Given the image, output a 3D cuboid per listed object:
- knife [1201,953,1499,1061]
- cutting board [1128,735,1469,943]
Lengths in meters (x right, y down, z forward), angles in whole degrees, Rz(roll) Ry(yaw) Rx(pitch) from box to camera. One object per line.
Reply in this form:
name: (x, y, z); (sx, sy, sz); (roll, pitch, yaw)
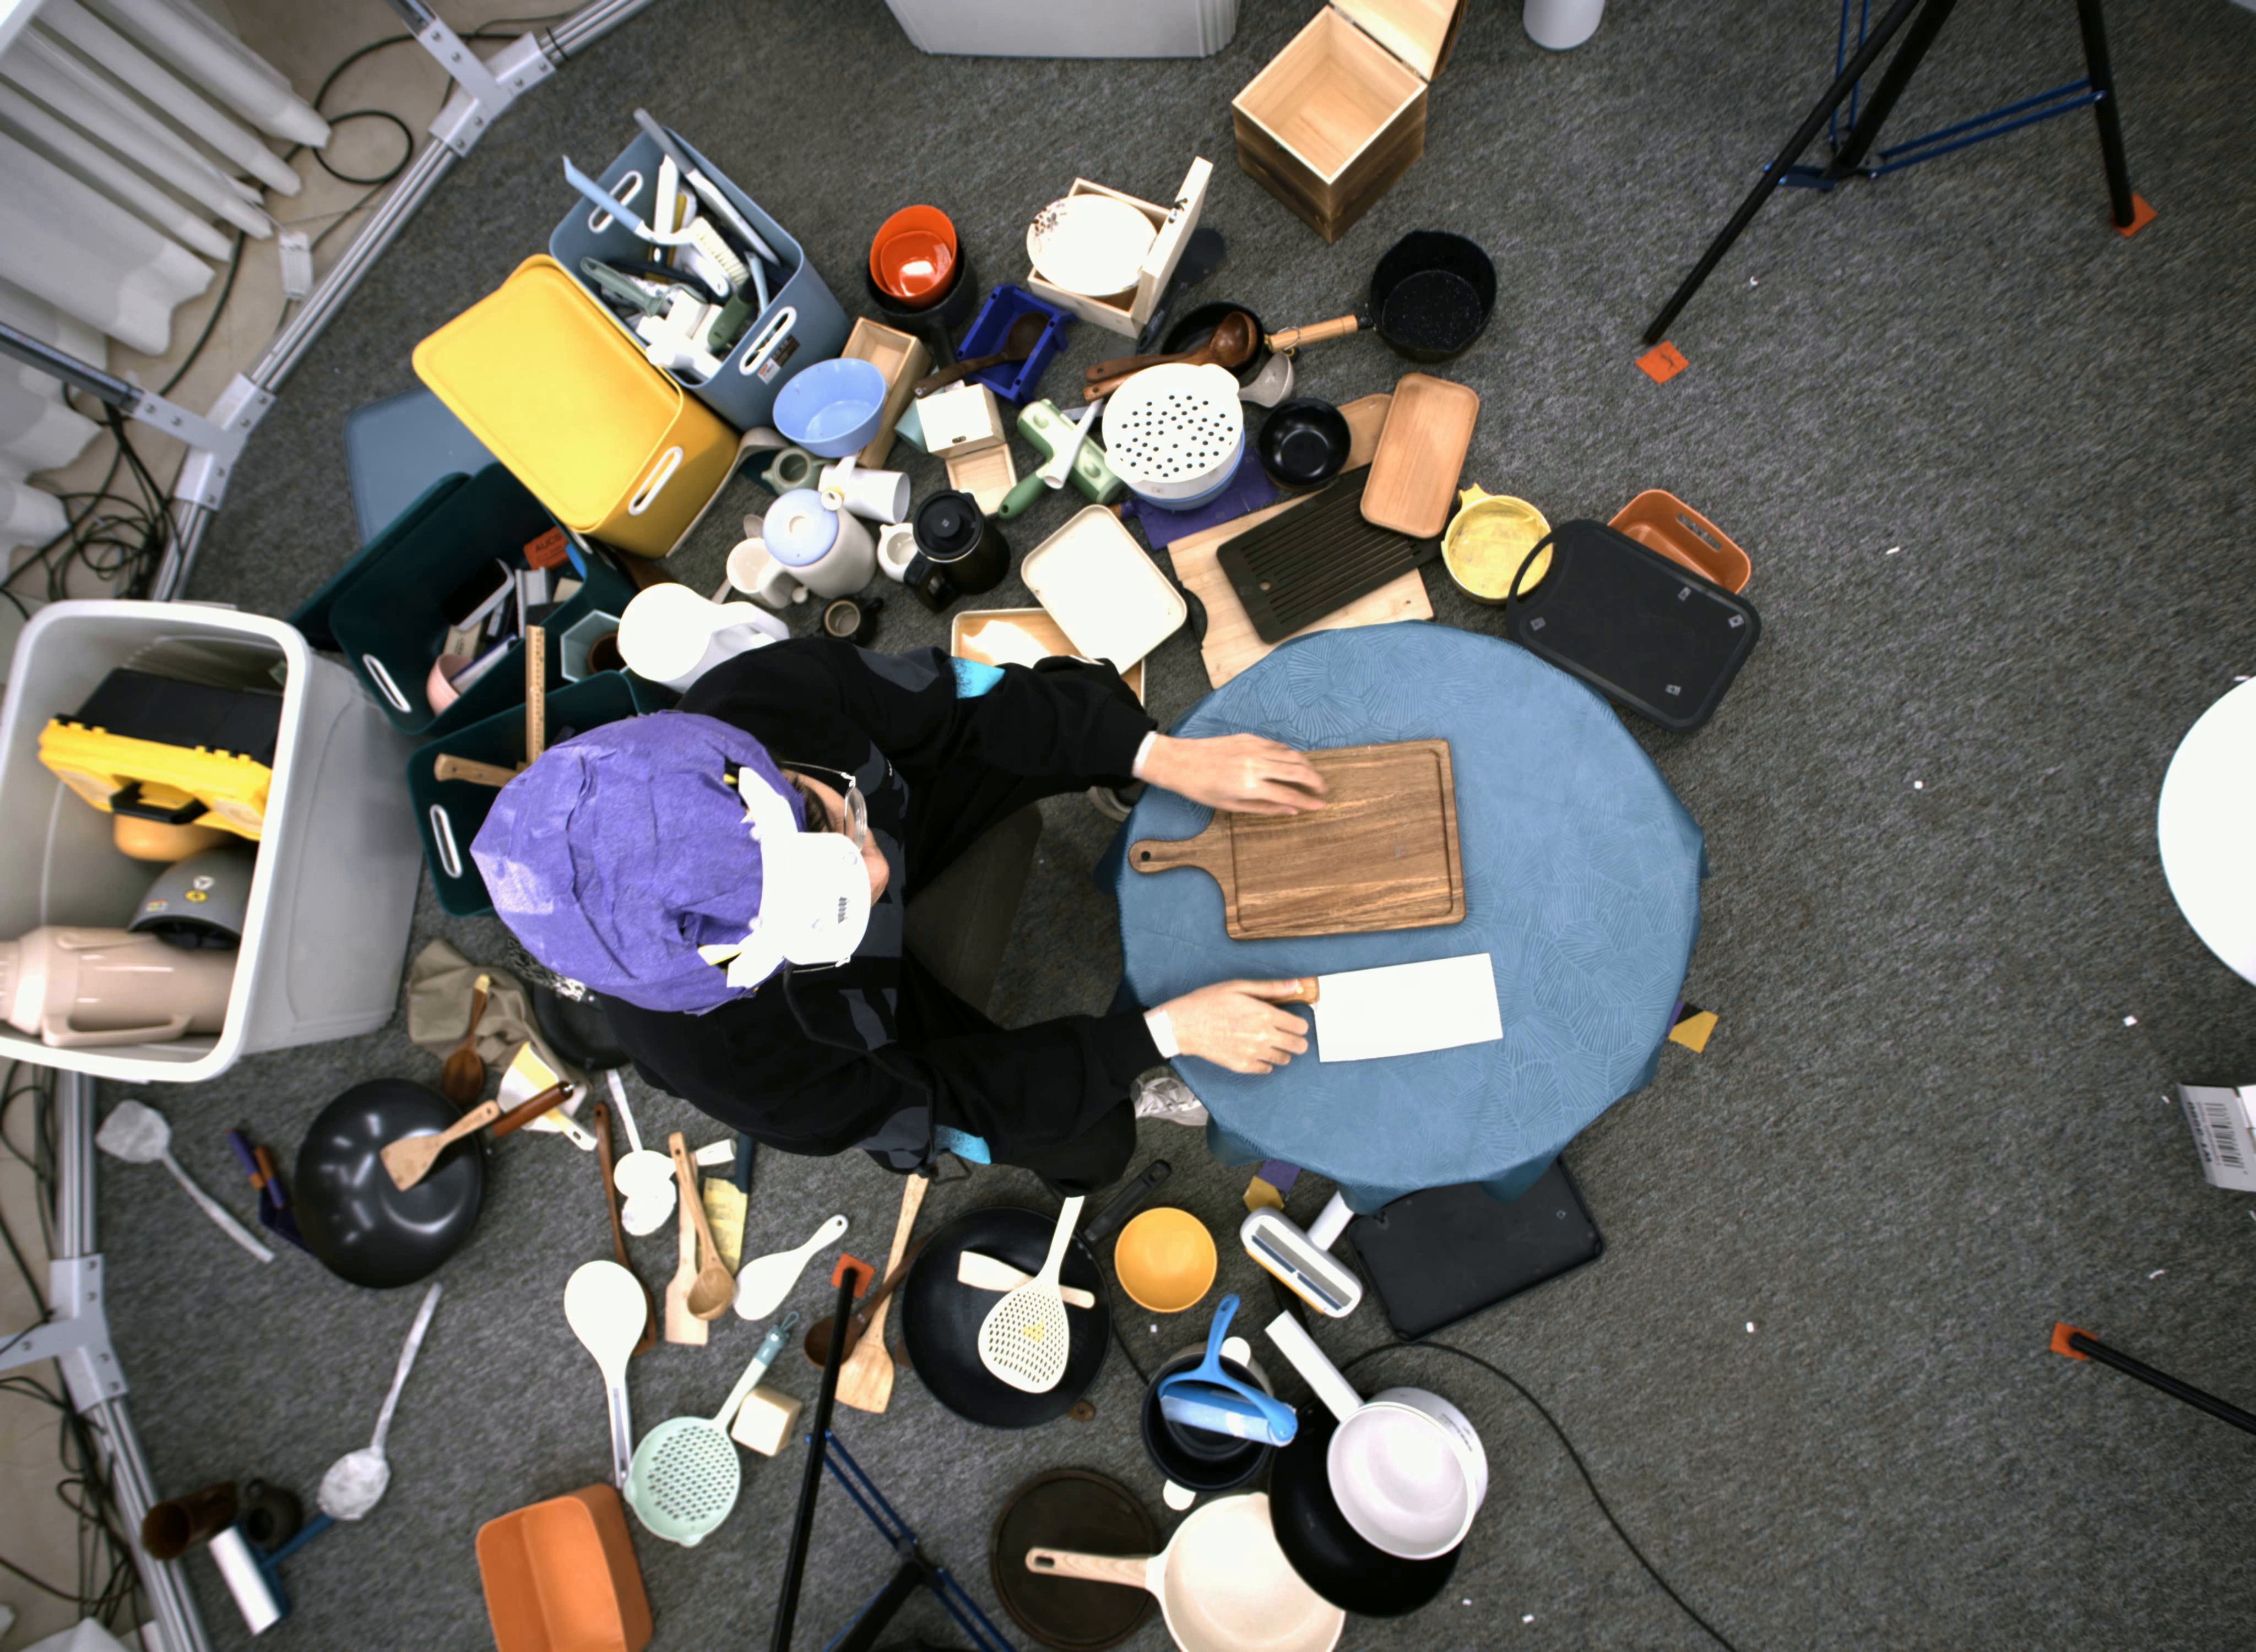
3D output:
knife: (0.233, 0.195, 1.452); (0.307, 0.021, 0.092); (-9, 87, 8)
cutting board: (0.174, 0.019, 1.470); (0.354, 0.023, 0.200); (-6, 86, 10)
